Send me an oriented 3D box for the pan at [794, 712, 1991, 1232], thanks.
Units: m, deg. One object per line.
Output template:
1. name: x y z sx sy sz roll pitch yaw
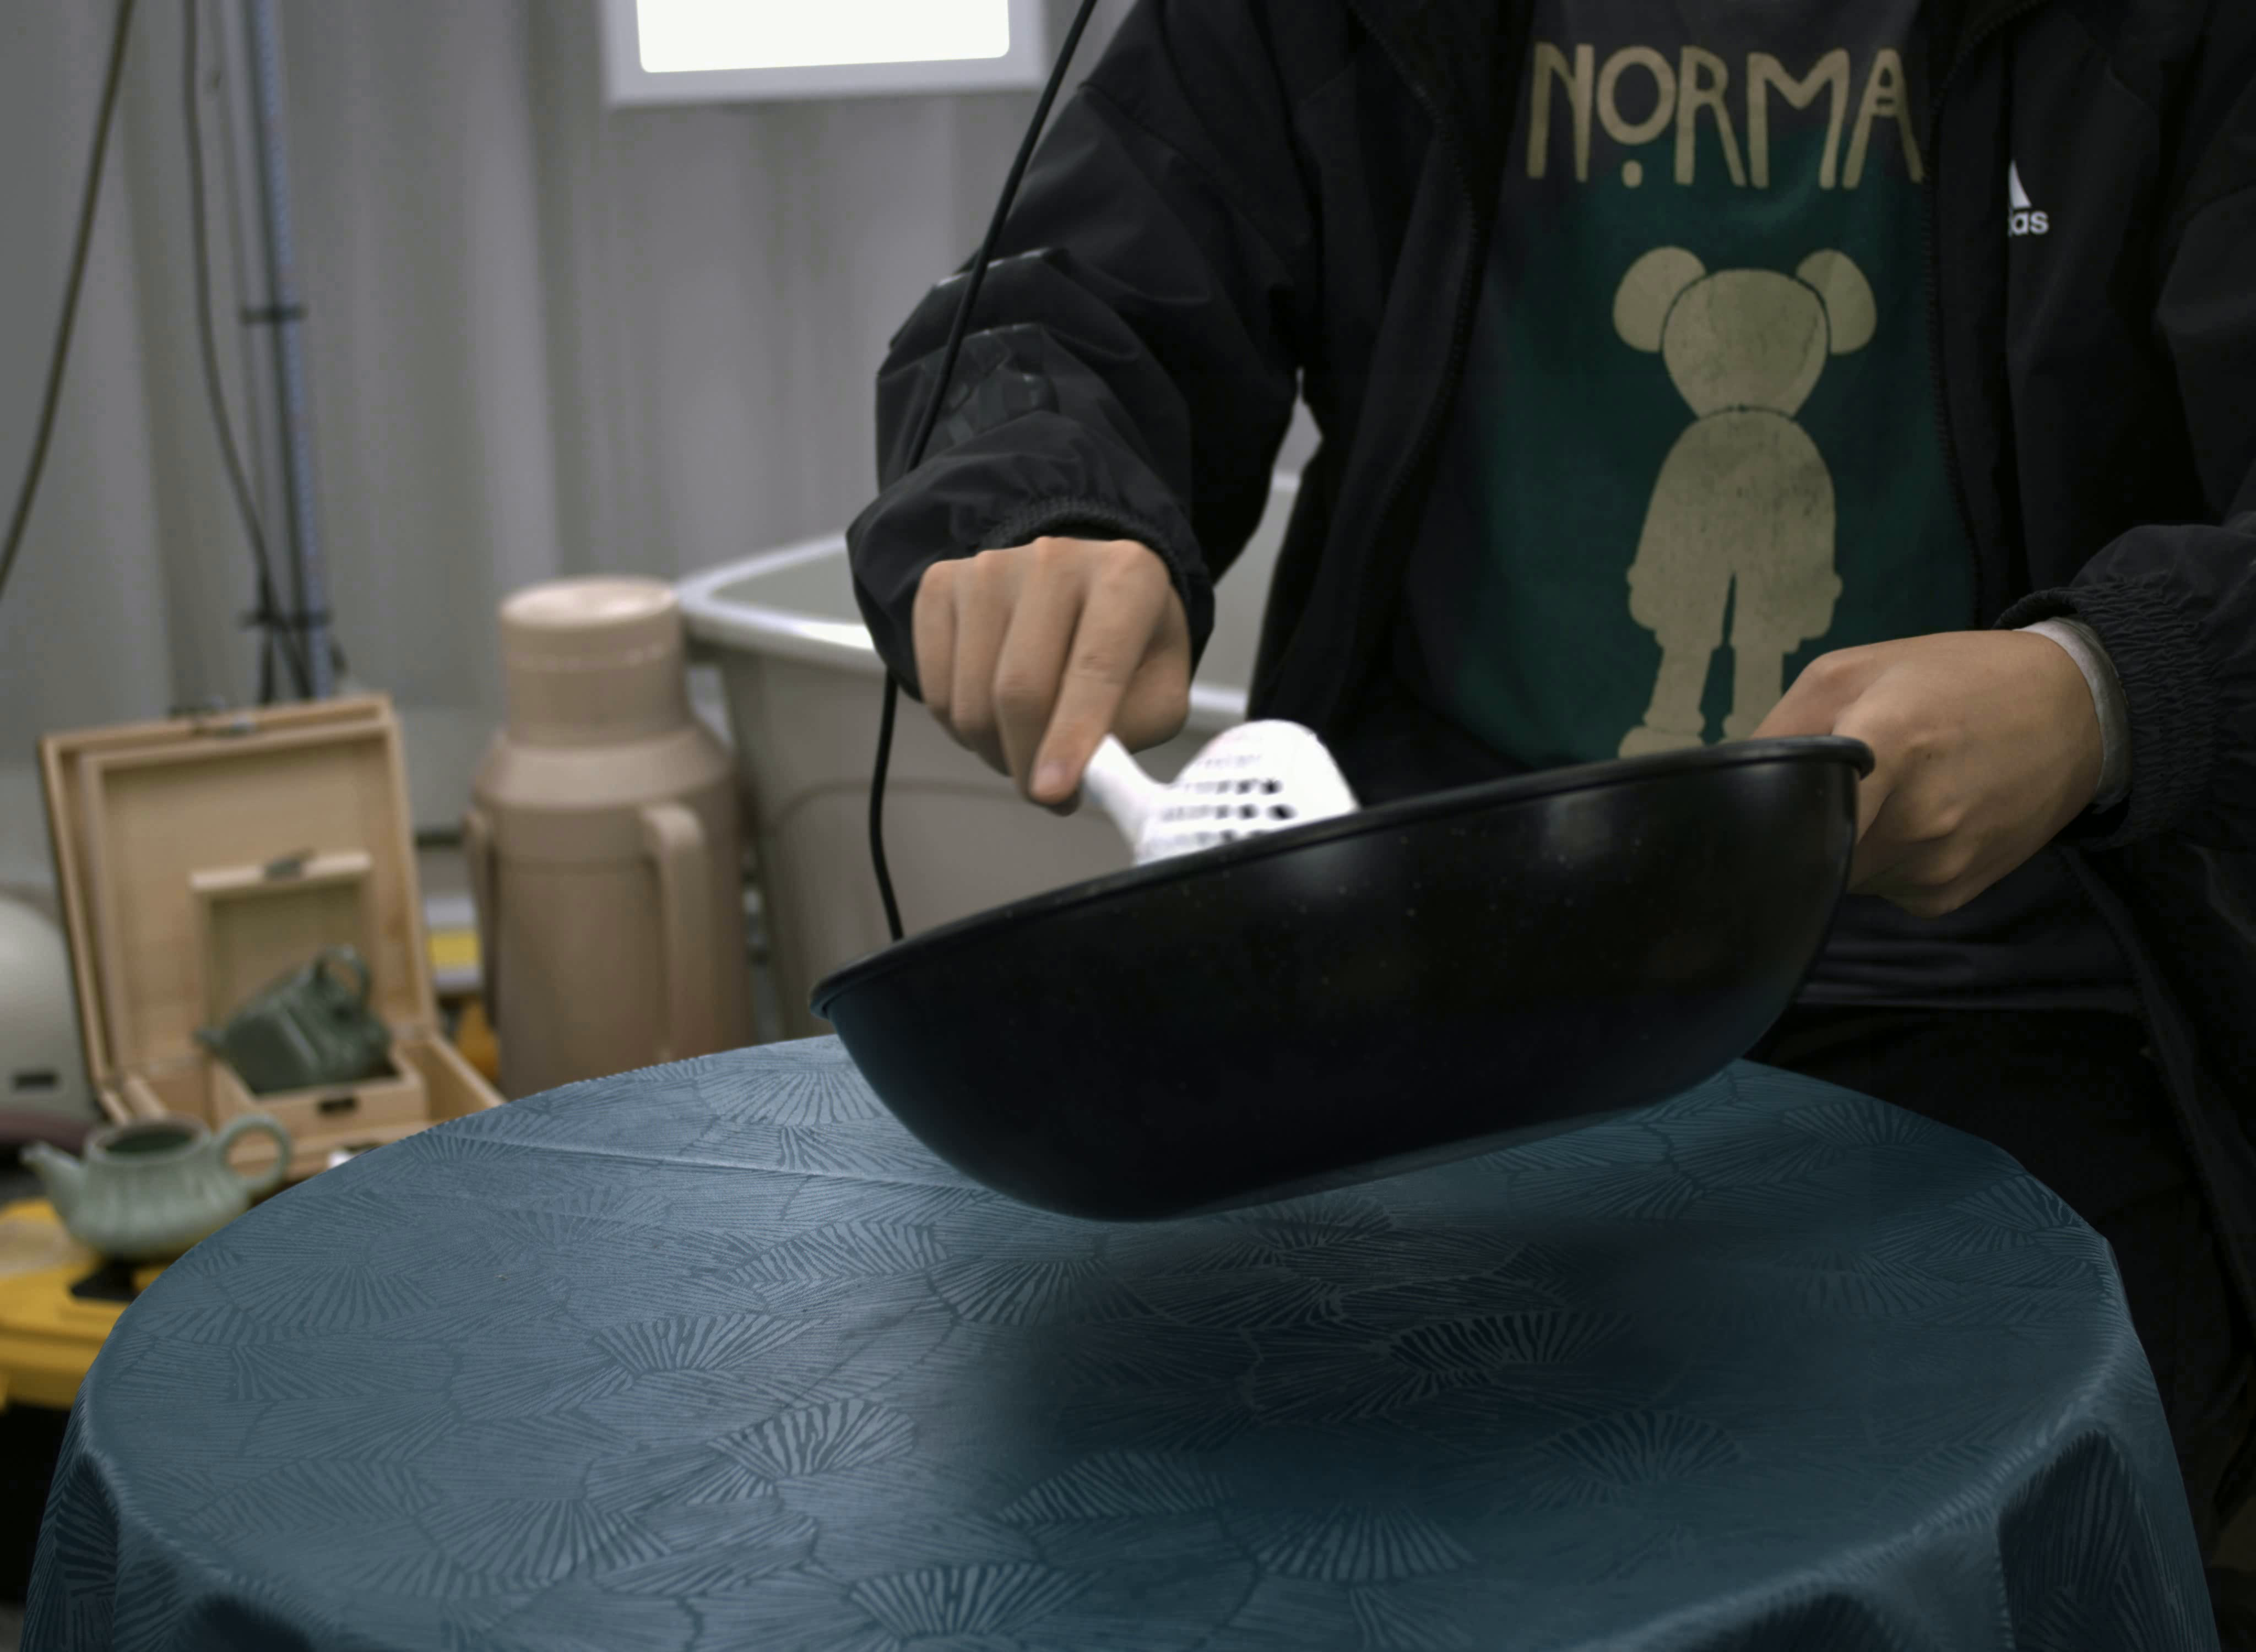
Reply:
1. pan: 0.120 0.038 1.595 0.310 0.112 0.474 -17 -7 43

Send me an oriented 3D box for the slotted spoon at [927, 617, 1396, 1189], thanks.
1. slotted spoon: 0.004 0.000 1.678 0.050 0.136 0.351 1 18 -17
